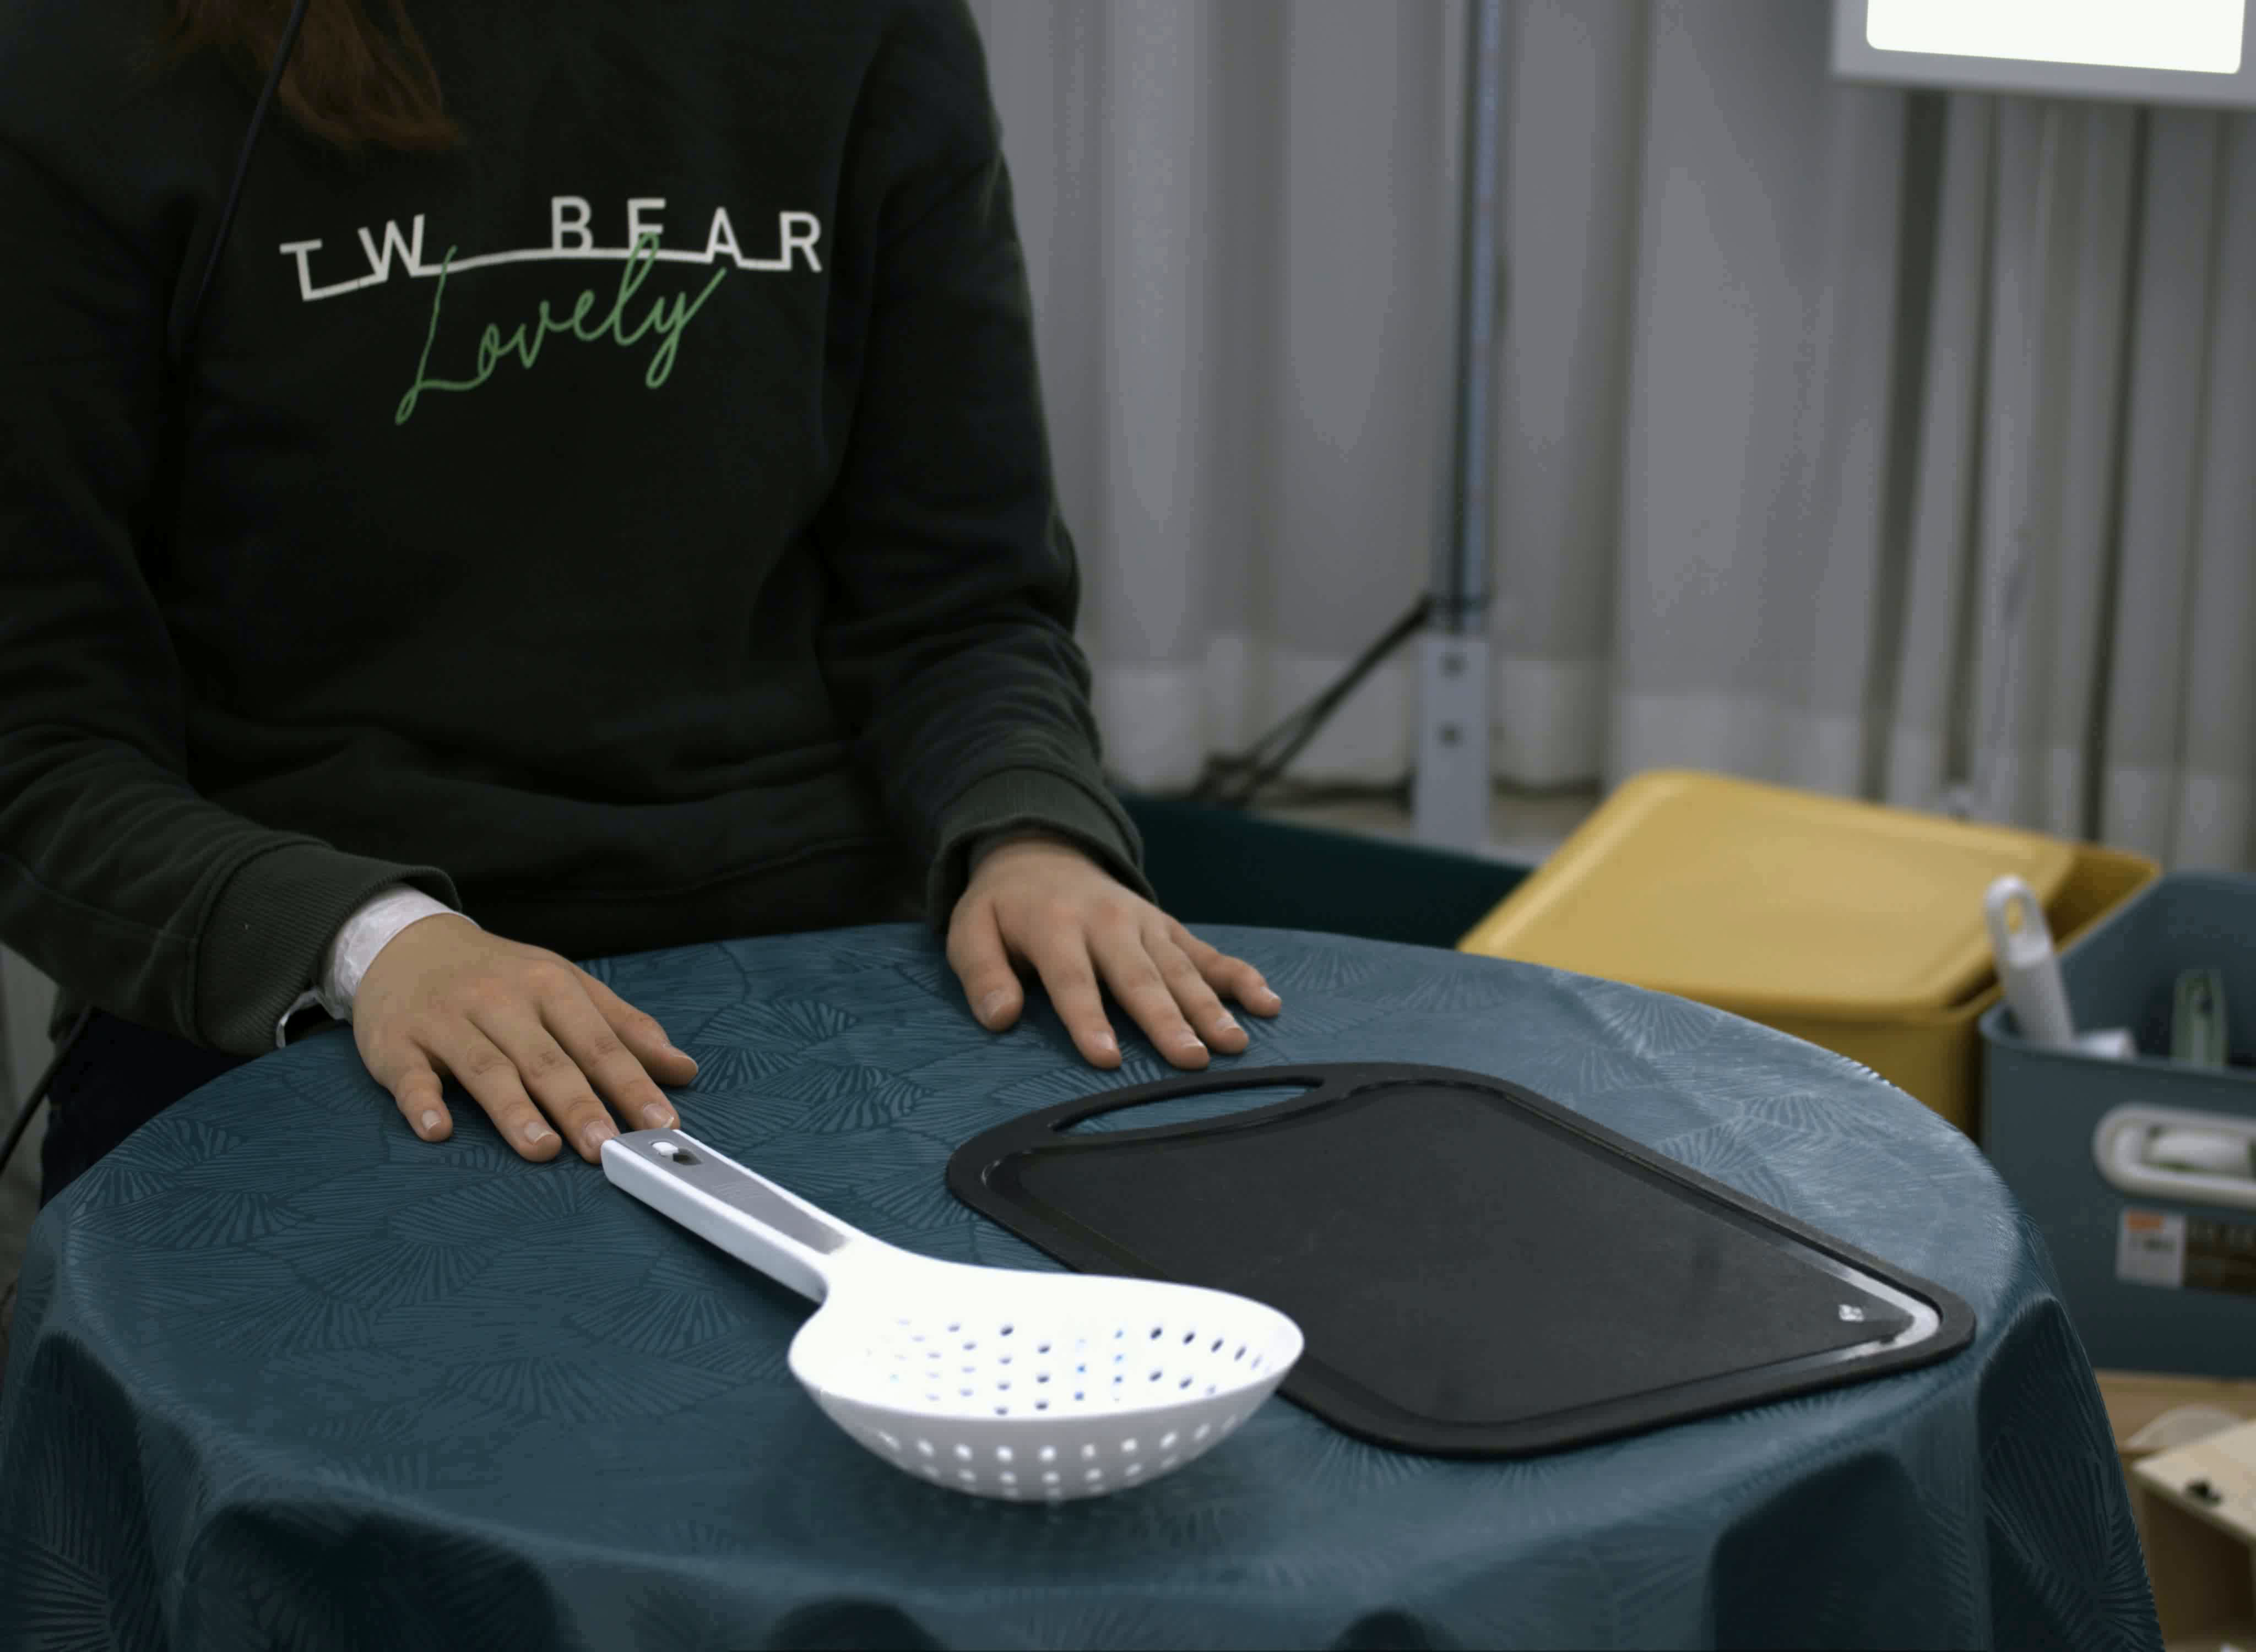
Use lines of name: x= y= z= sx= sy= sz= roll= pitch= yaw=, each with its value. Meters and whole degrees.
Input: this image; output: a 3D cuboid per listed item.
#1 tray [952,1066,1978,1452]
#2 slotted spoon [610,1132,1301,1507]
tray: x=0.090 y=0.122 z=1.584 sx=0.212 sy=0.010 sz=0.321 roll=-8 pitch=18 yaw=-30
slotted spoon: x=-0.071 y=0.129 z=1.482 sx=0.136 sy=0.046 sz=0.345 roll=-5 pitch=16 yaw=-27
